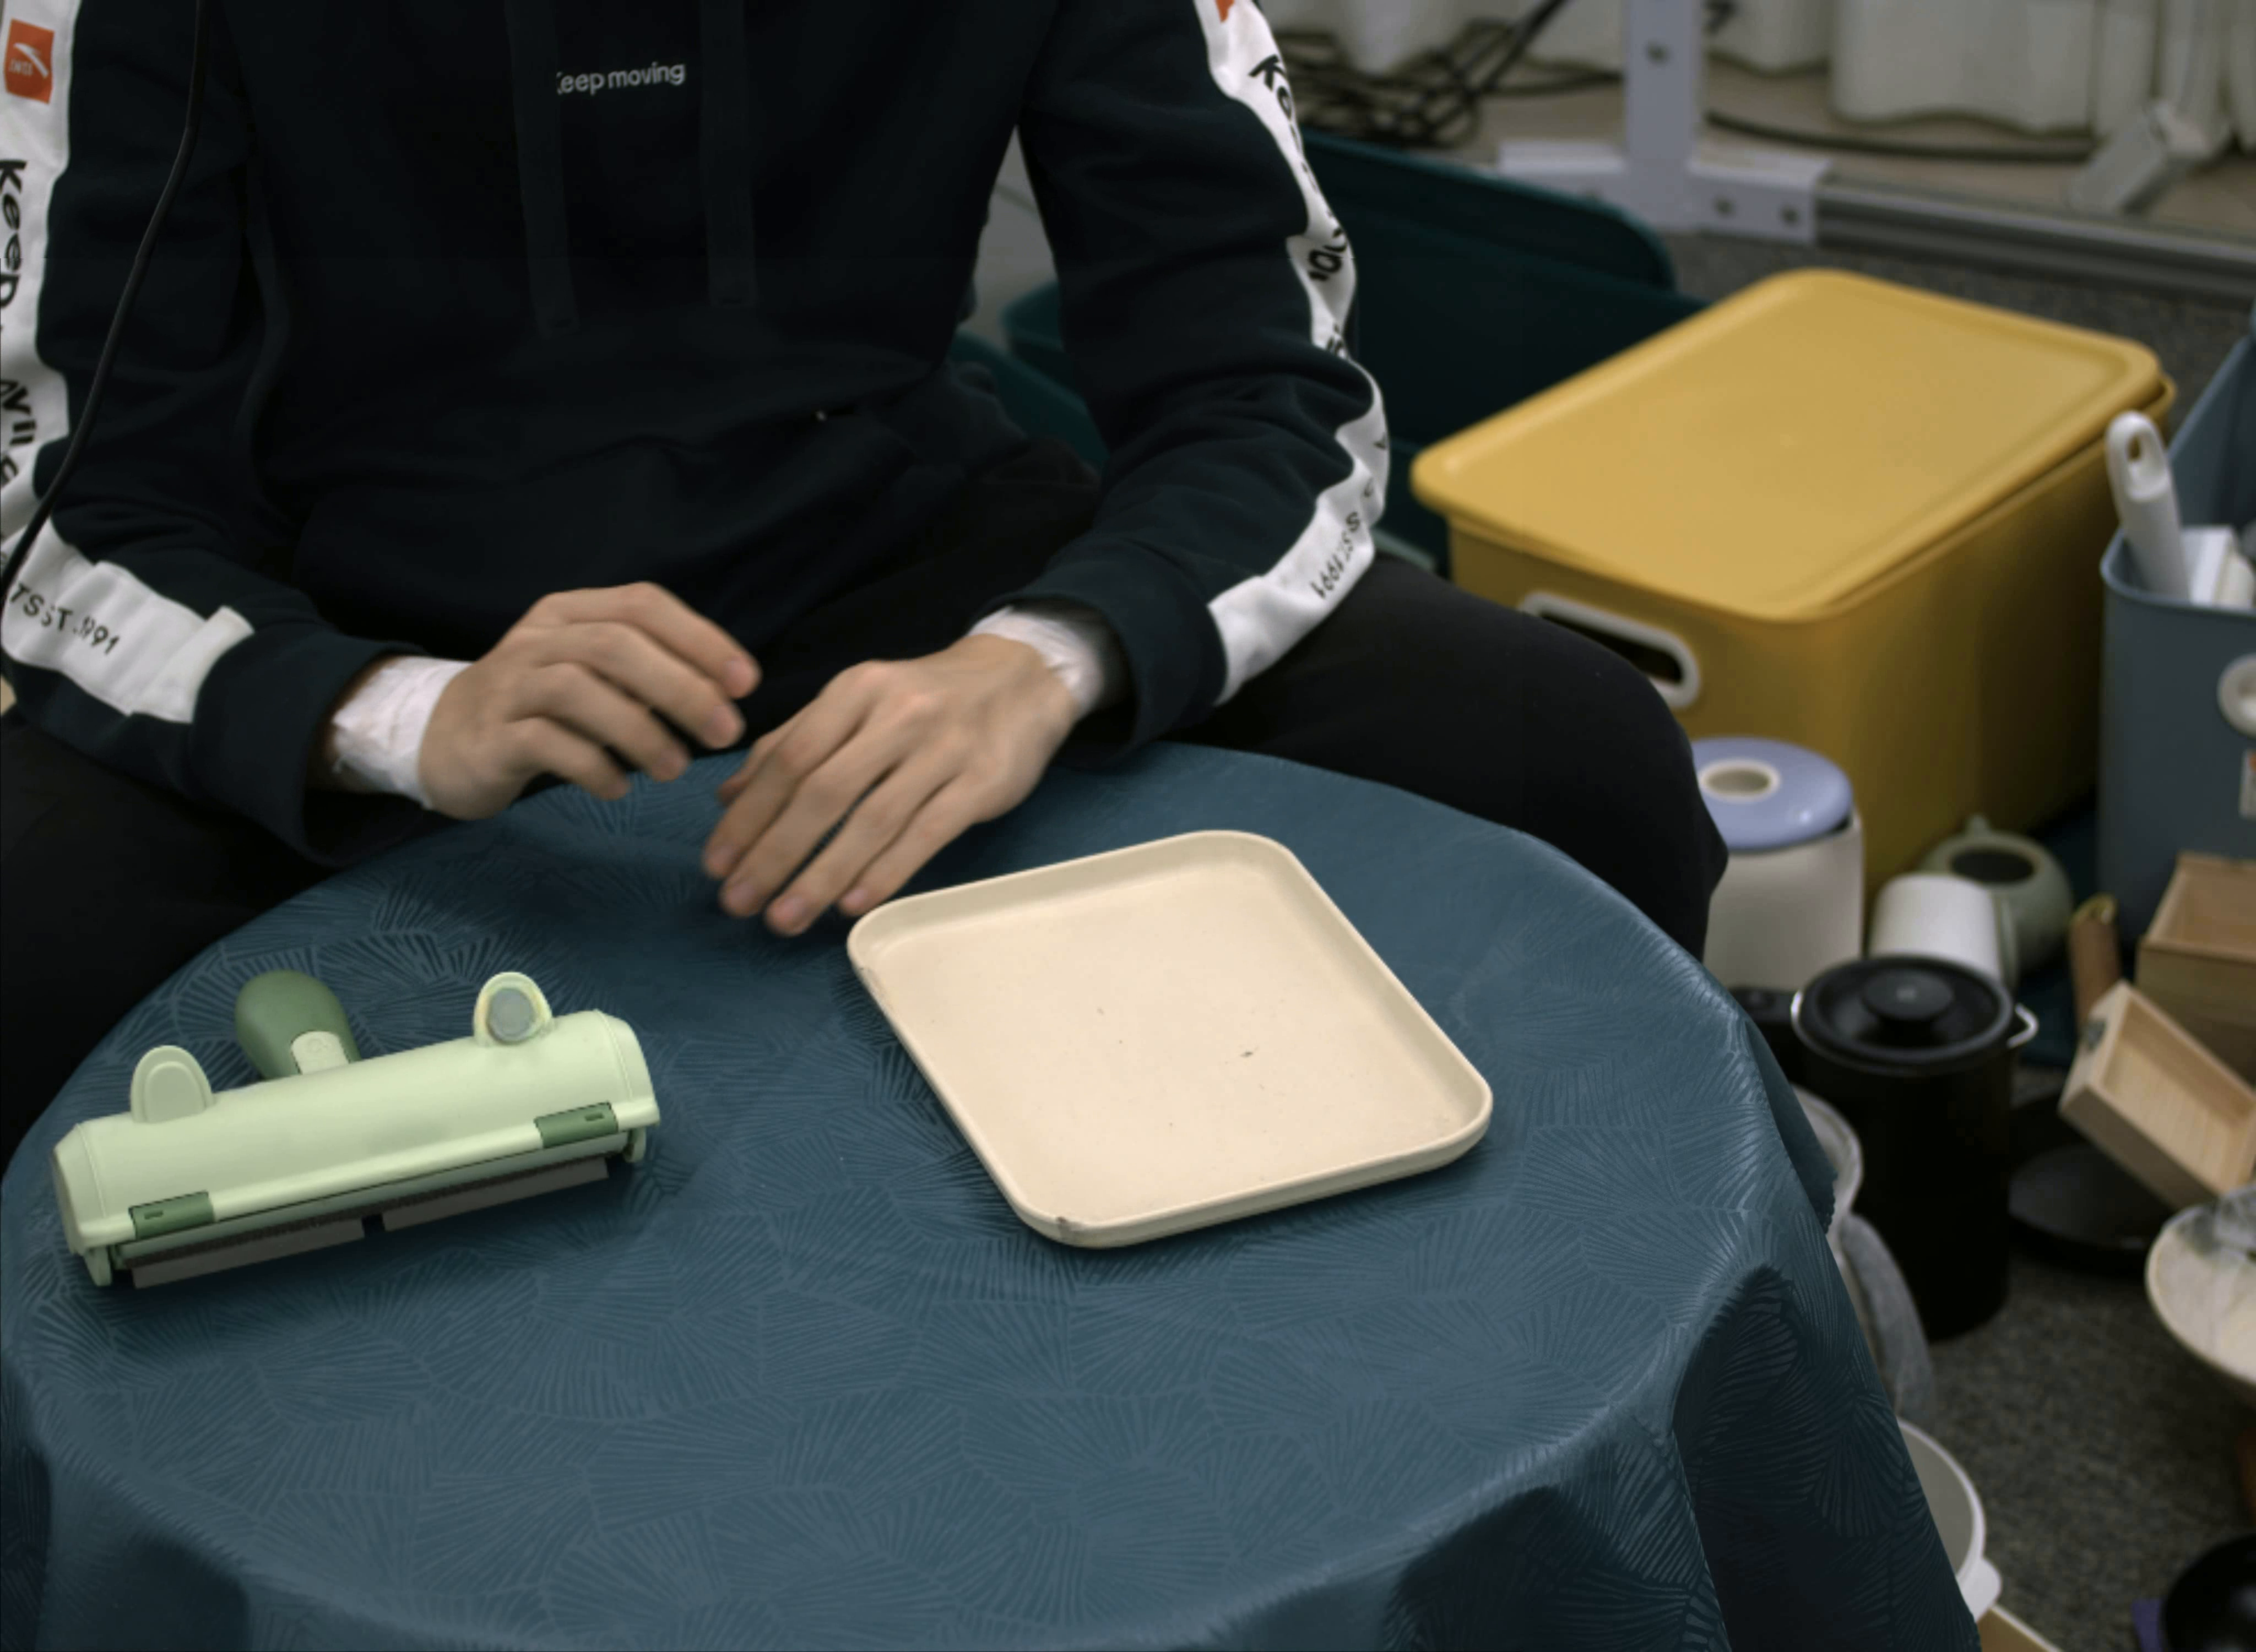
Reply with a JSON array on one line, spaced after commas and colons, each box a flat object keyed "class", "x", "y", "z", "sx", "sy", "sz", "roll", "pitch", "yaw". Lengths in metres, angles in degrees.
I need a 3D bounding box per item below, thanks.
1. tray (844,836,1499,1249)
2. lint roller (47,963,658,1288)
[{"class": "tray", "x": 0.012, "y": 0.073, "z": 1.933, "sx": 0.171, "sy": 0.017, "sz": 0.241, "roll": -12, "pitch": 29, "yaw": -17}, {"class": "lint roller", "x": -0.274, "y": 0.074, "z": 1.897, "sx": 0.199, "sy": 0.081, "sz": 0.185, "roll": -12, "pitch": 33, "yaw": -17}]
